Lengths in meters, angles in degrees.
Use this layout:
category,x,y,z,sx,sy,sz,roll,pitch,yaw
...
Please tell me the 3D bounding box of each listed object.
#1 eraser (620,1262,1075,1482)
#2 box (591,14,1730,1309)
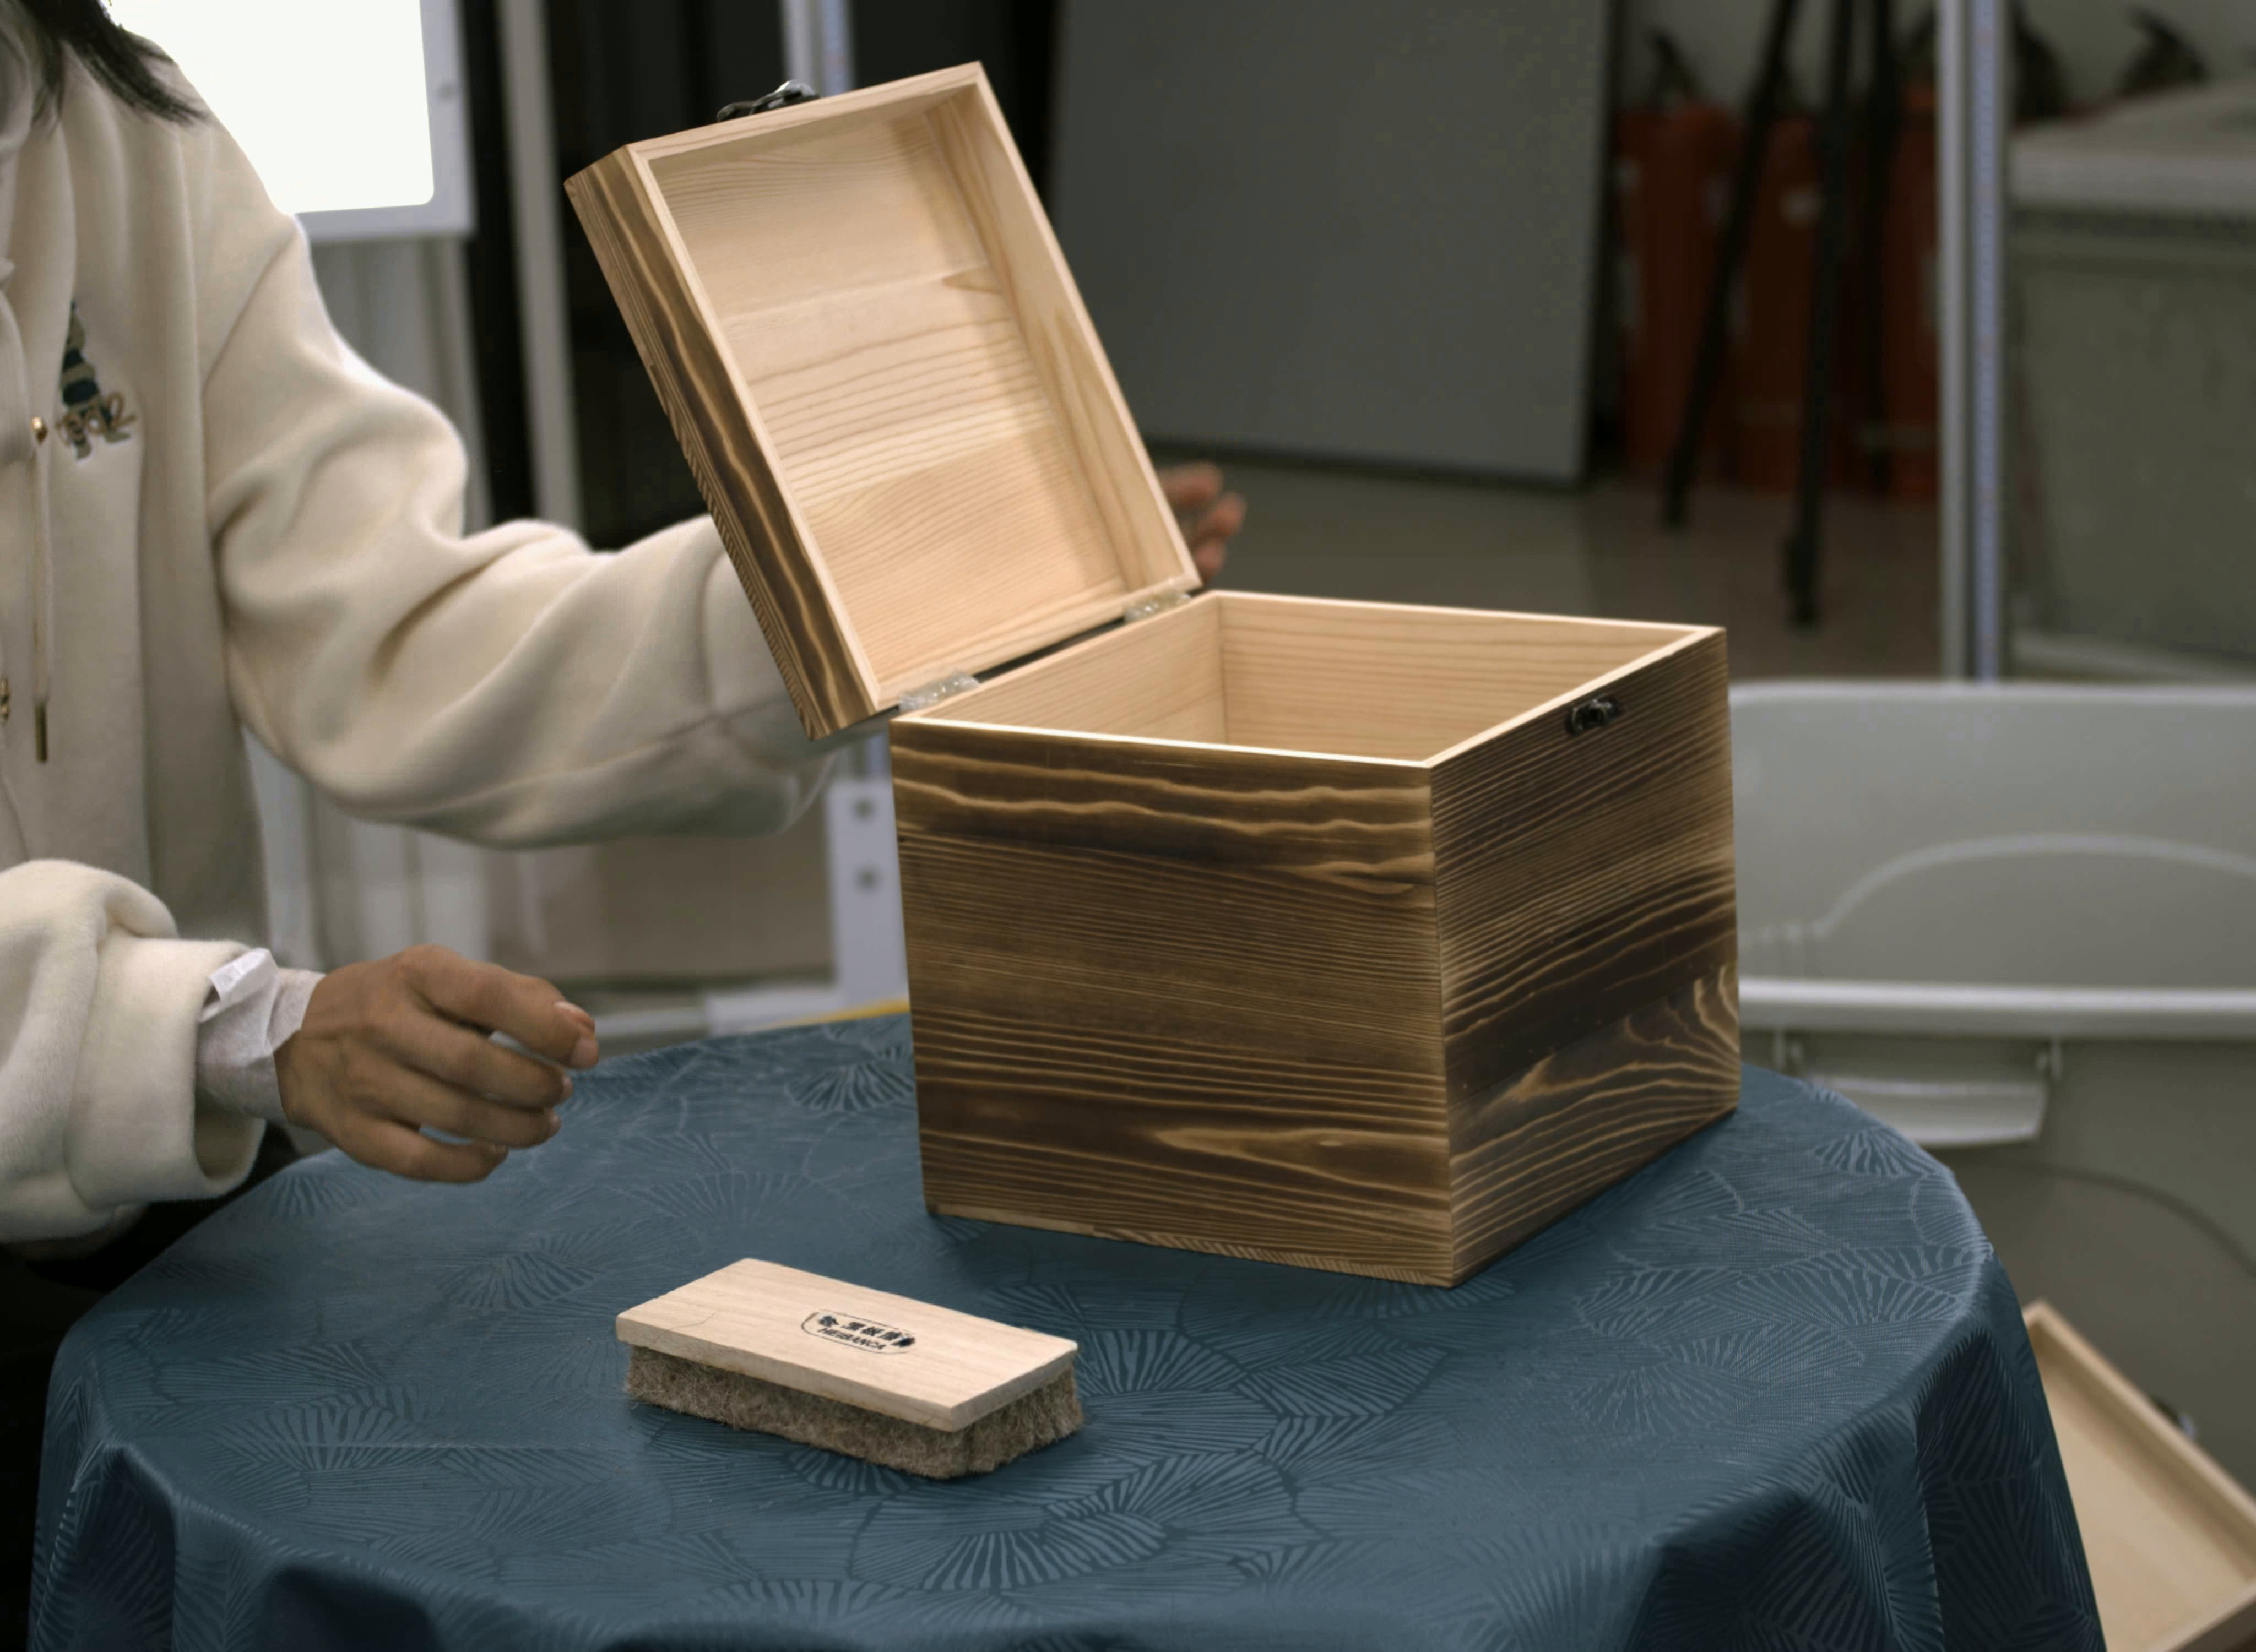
category,x,y,z,sx,sy,sz,roll,pitch,yaw
eraser,-0.082,0.160,1.576,0.140,0.029,0.056,8,21,44
box,0.015,-0.069,1.770,0.324,0.379,0.205,5,17,33
